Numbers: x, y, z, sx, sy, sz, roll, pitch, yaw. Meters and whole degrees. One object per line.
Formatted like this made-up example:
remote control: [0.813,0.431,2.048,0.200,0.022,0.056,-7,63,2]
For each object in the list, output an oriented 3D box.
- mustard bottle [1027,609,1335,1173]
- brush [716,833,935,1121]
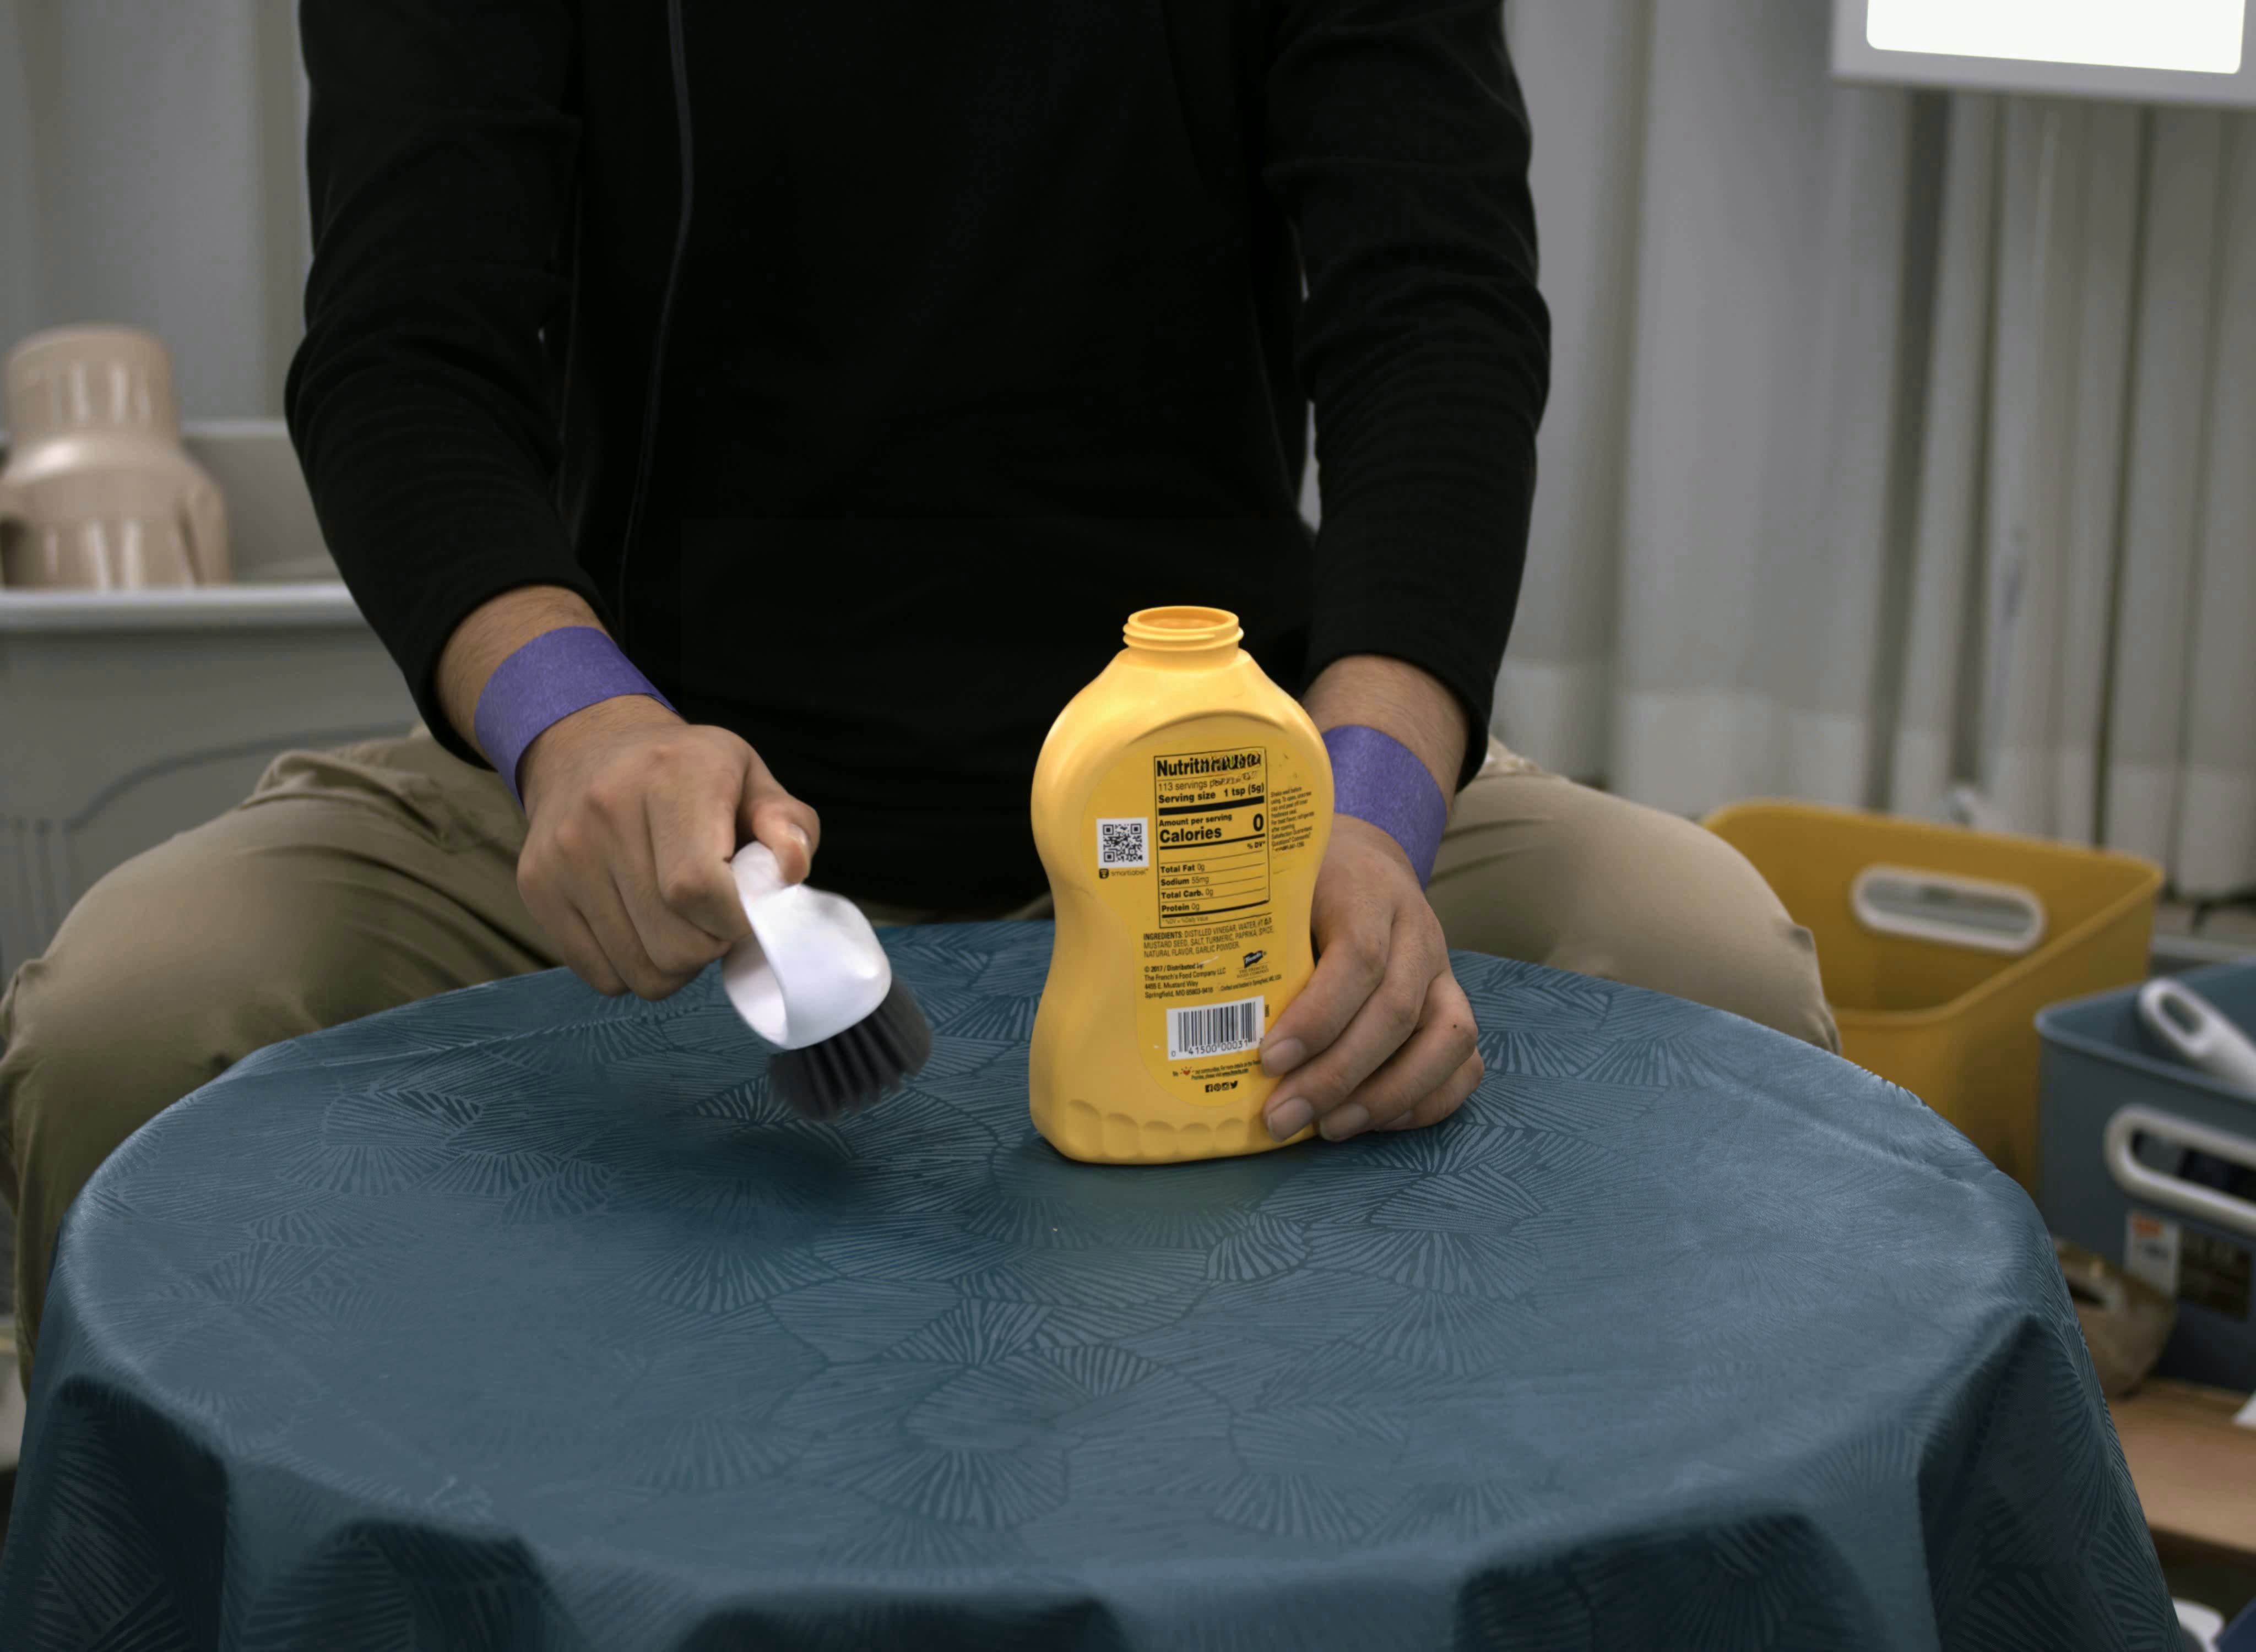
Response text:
mustard bottle: [0.015,0.019,1.644,0.098,0.173,0.058,-8,14,-22]
brush: [-0.101,0.039,1.627,0.050,0.073,0.098,-31,23,0]
